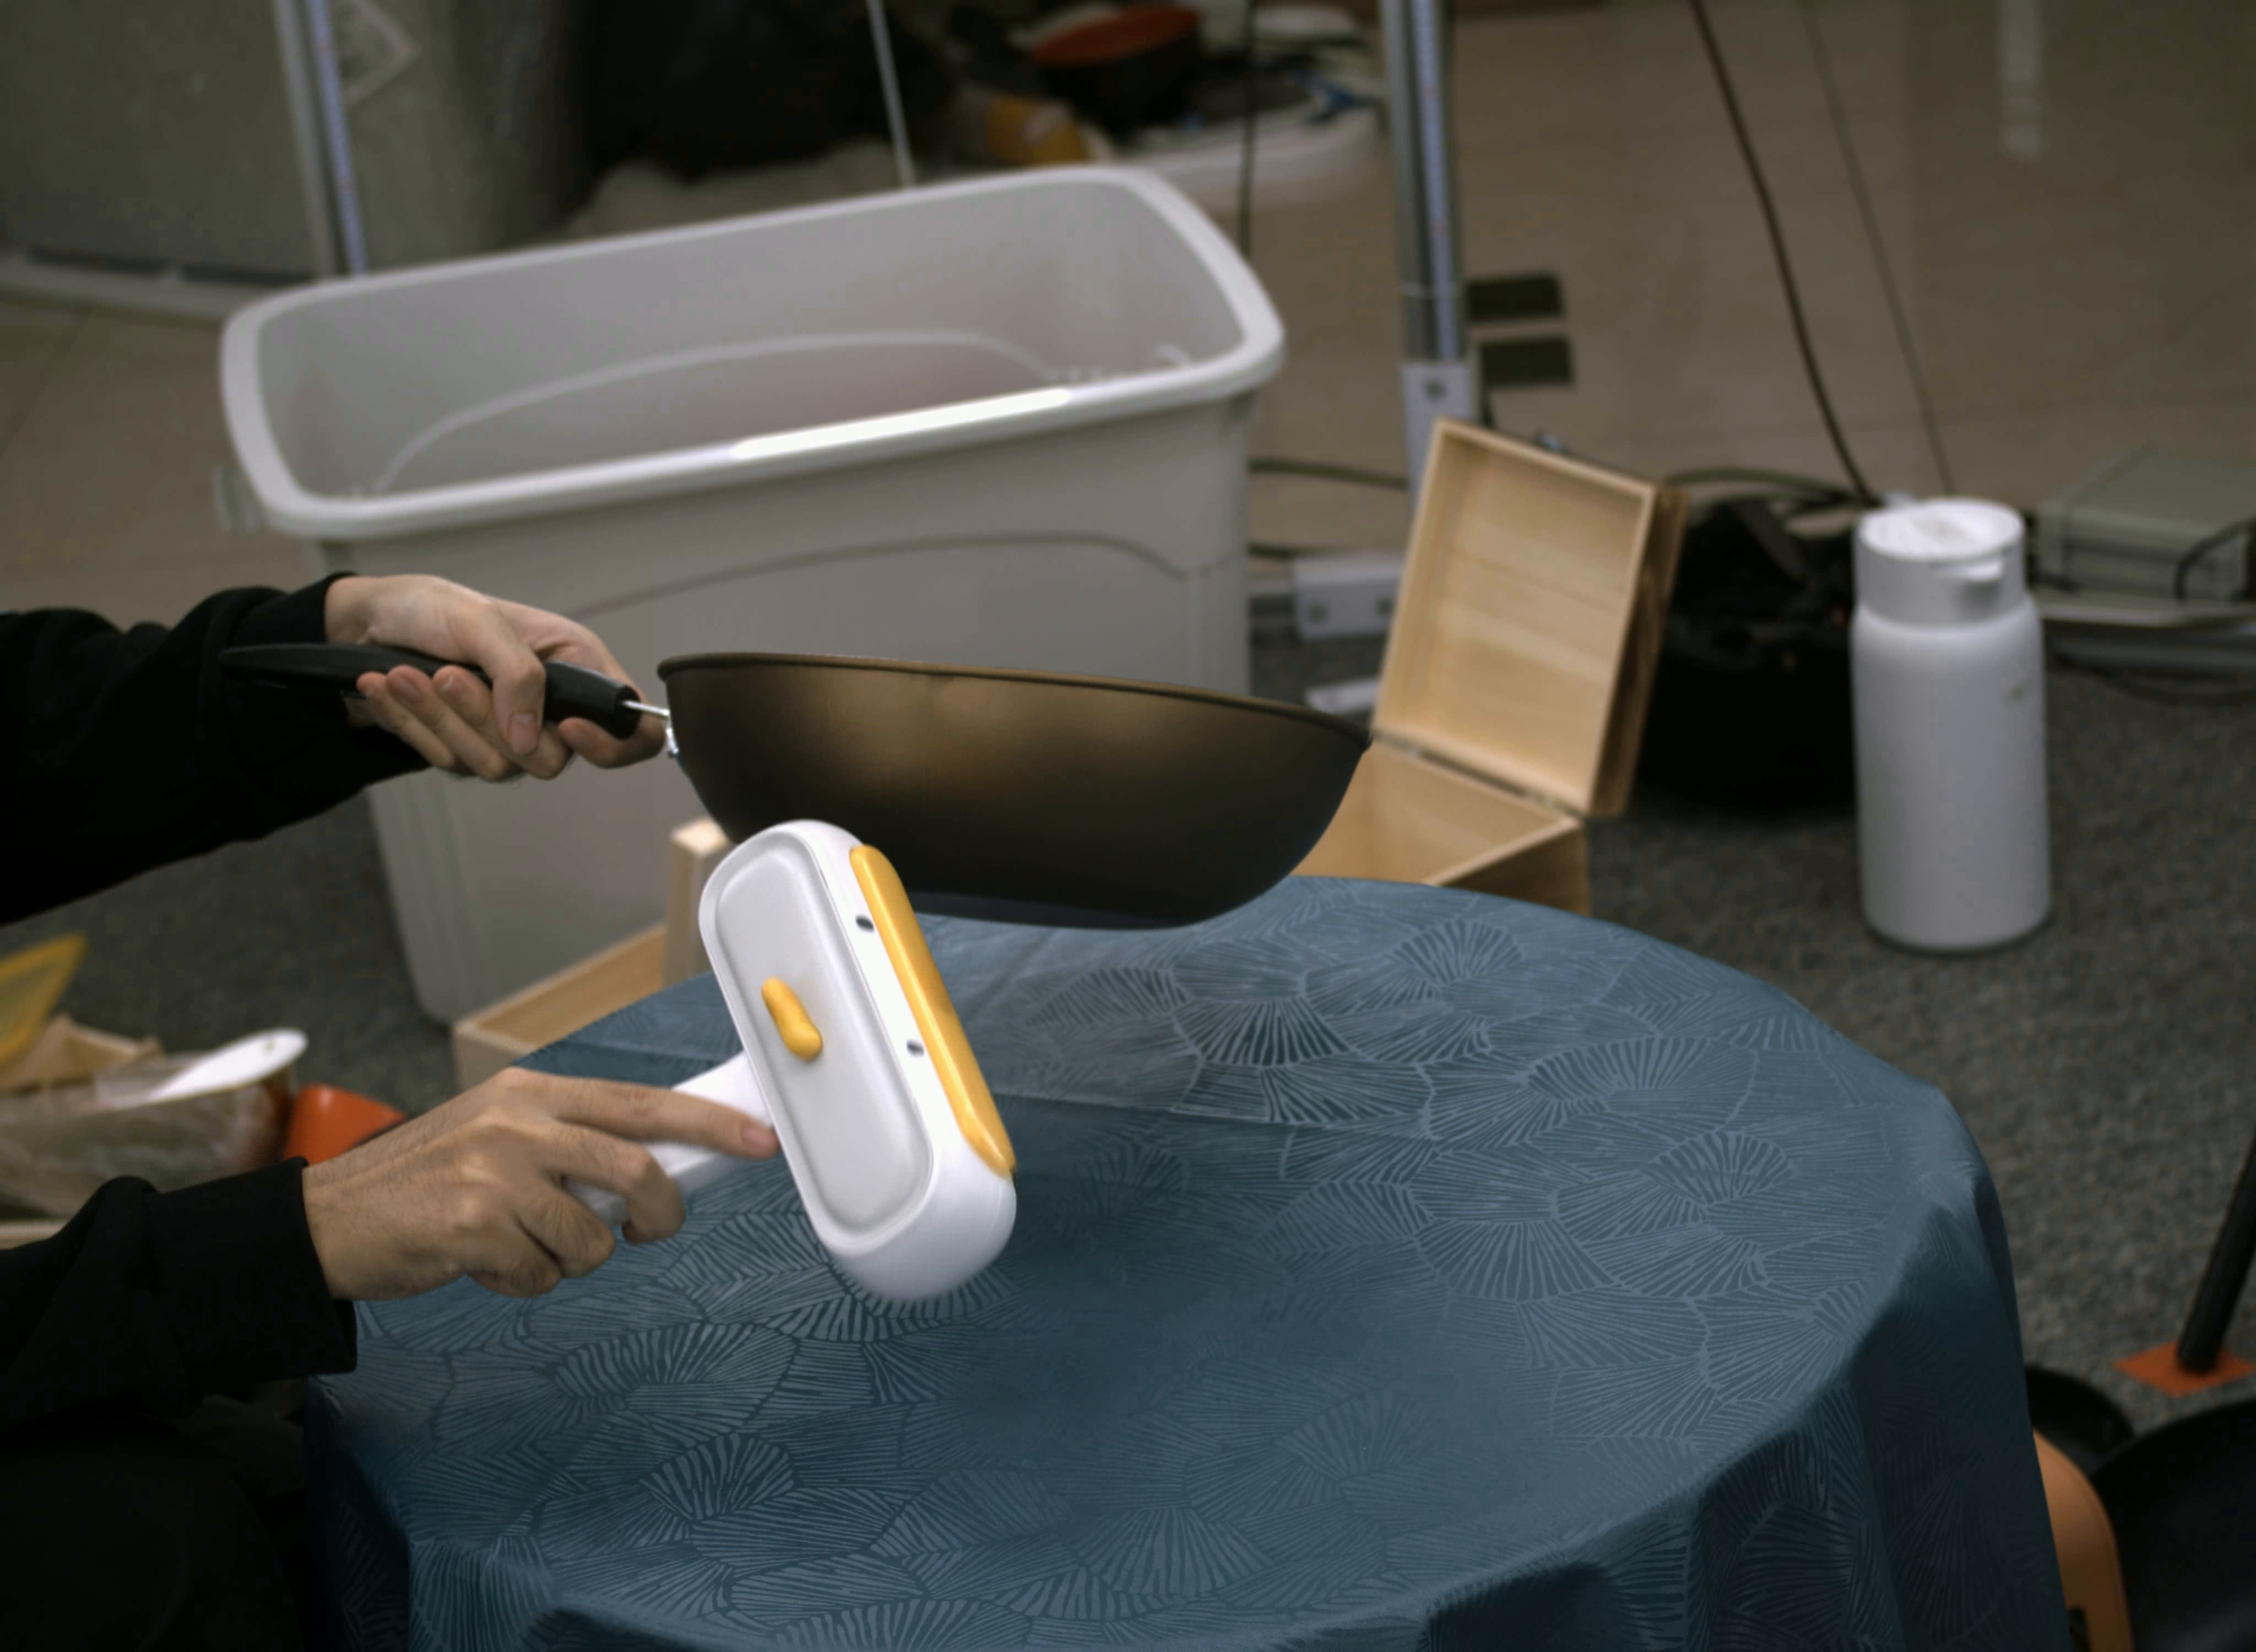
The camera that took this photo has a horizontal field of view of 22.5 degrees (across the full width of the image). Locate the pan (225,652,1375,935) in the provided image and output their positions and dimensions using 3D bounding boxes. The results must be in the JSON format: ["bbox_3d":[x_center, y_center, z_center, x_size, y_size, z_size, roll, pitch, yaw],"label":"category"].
[{"bbox_3d":[-0.136,-0.014,2.190,0.462,0.087,0.289,4,-5,13],"label":"pan"}]

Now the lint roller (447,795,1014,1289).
[{"bbox_3d":[-0.151,0.102,2.001,0.193,0.075,0.190,-35,59,9],"label":"lint roller"}]
